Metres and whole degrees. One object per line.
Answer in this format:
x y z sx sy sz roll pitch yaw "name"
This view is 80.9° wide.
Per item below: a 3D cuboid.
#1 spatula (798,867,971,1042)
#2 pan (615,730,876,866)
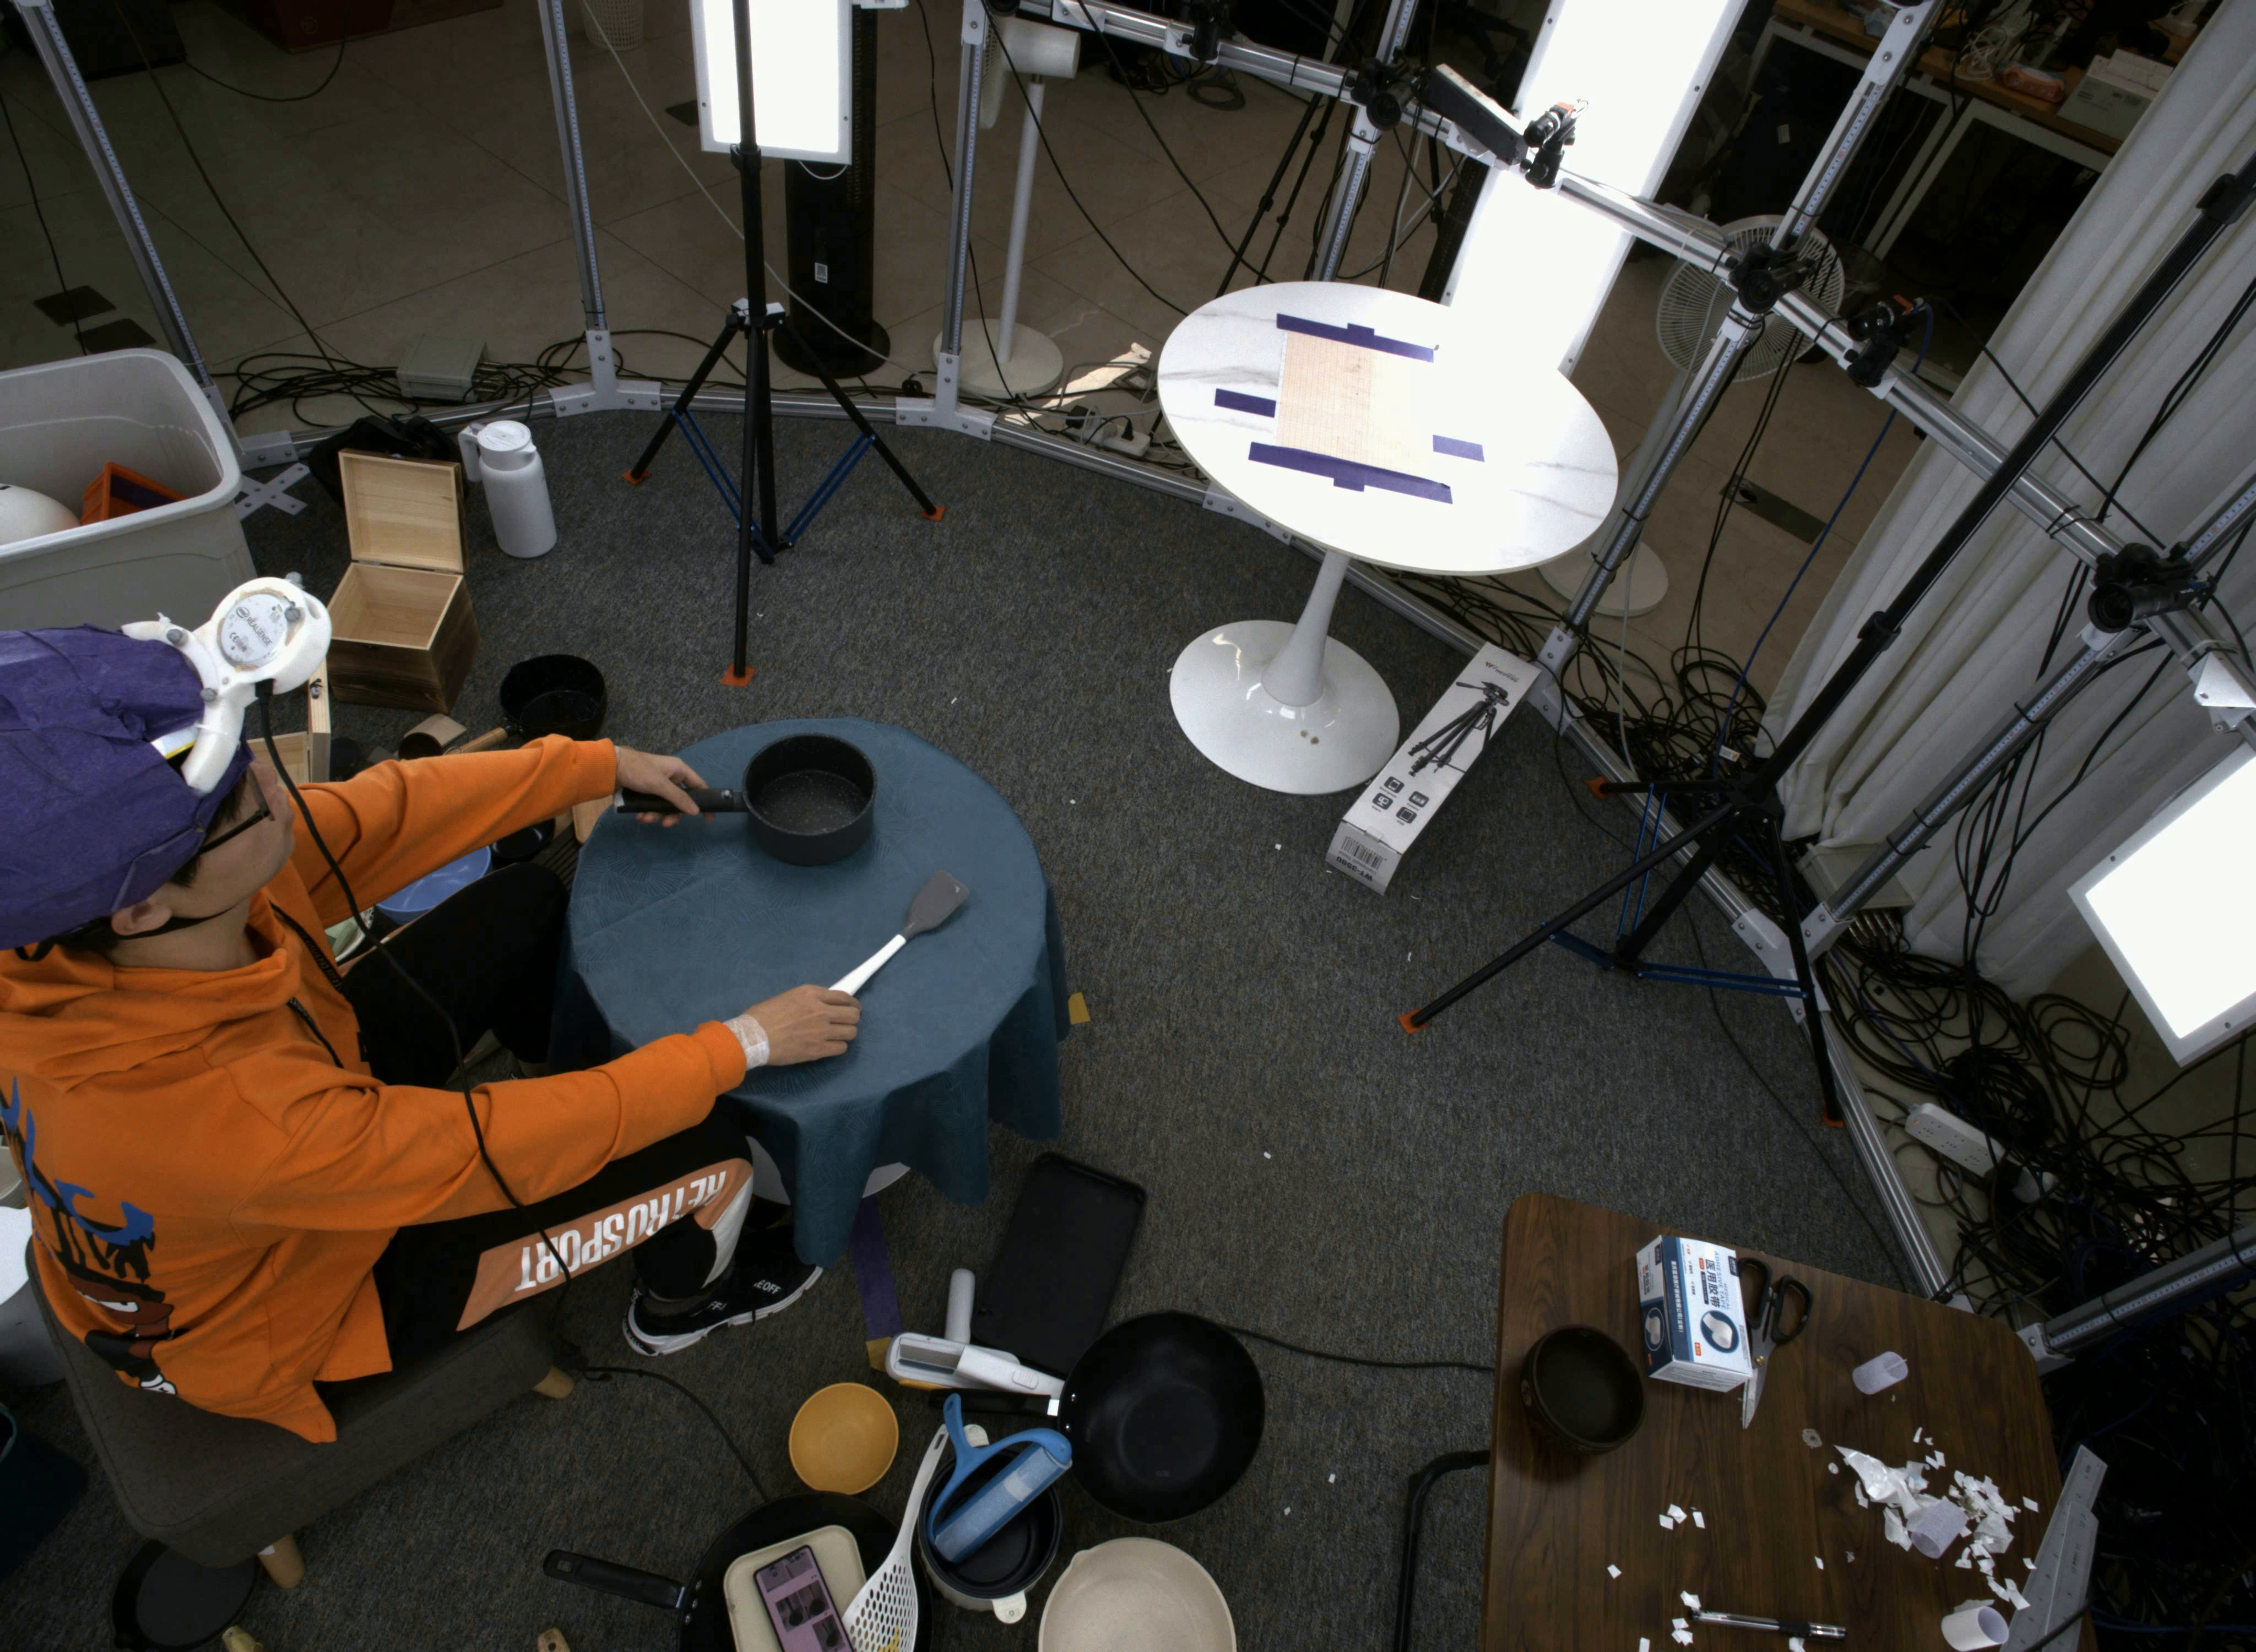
-0.301 0.155 1.610 0.057 0.033 0.287 32 53 13 "spatula"
-0.492 -0.031 1.665 0.330 0.088 0.168 -3 53 -19 "pan"
